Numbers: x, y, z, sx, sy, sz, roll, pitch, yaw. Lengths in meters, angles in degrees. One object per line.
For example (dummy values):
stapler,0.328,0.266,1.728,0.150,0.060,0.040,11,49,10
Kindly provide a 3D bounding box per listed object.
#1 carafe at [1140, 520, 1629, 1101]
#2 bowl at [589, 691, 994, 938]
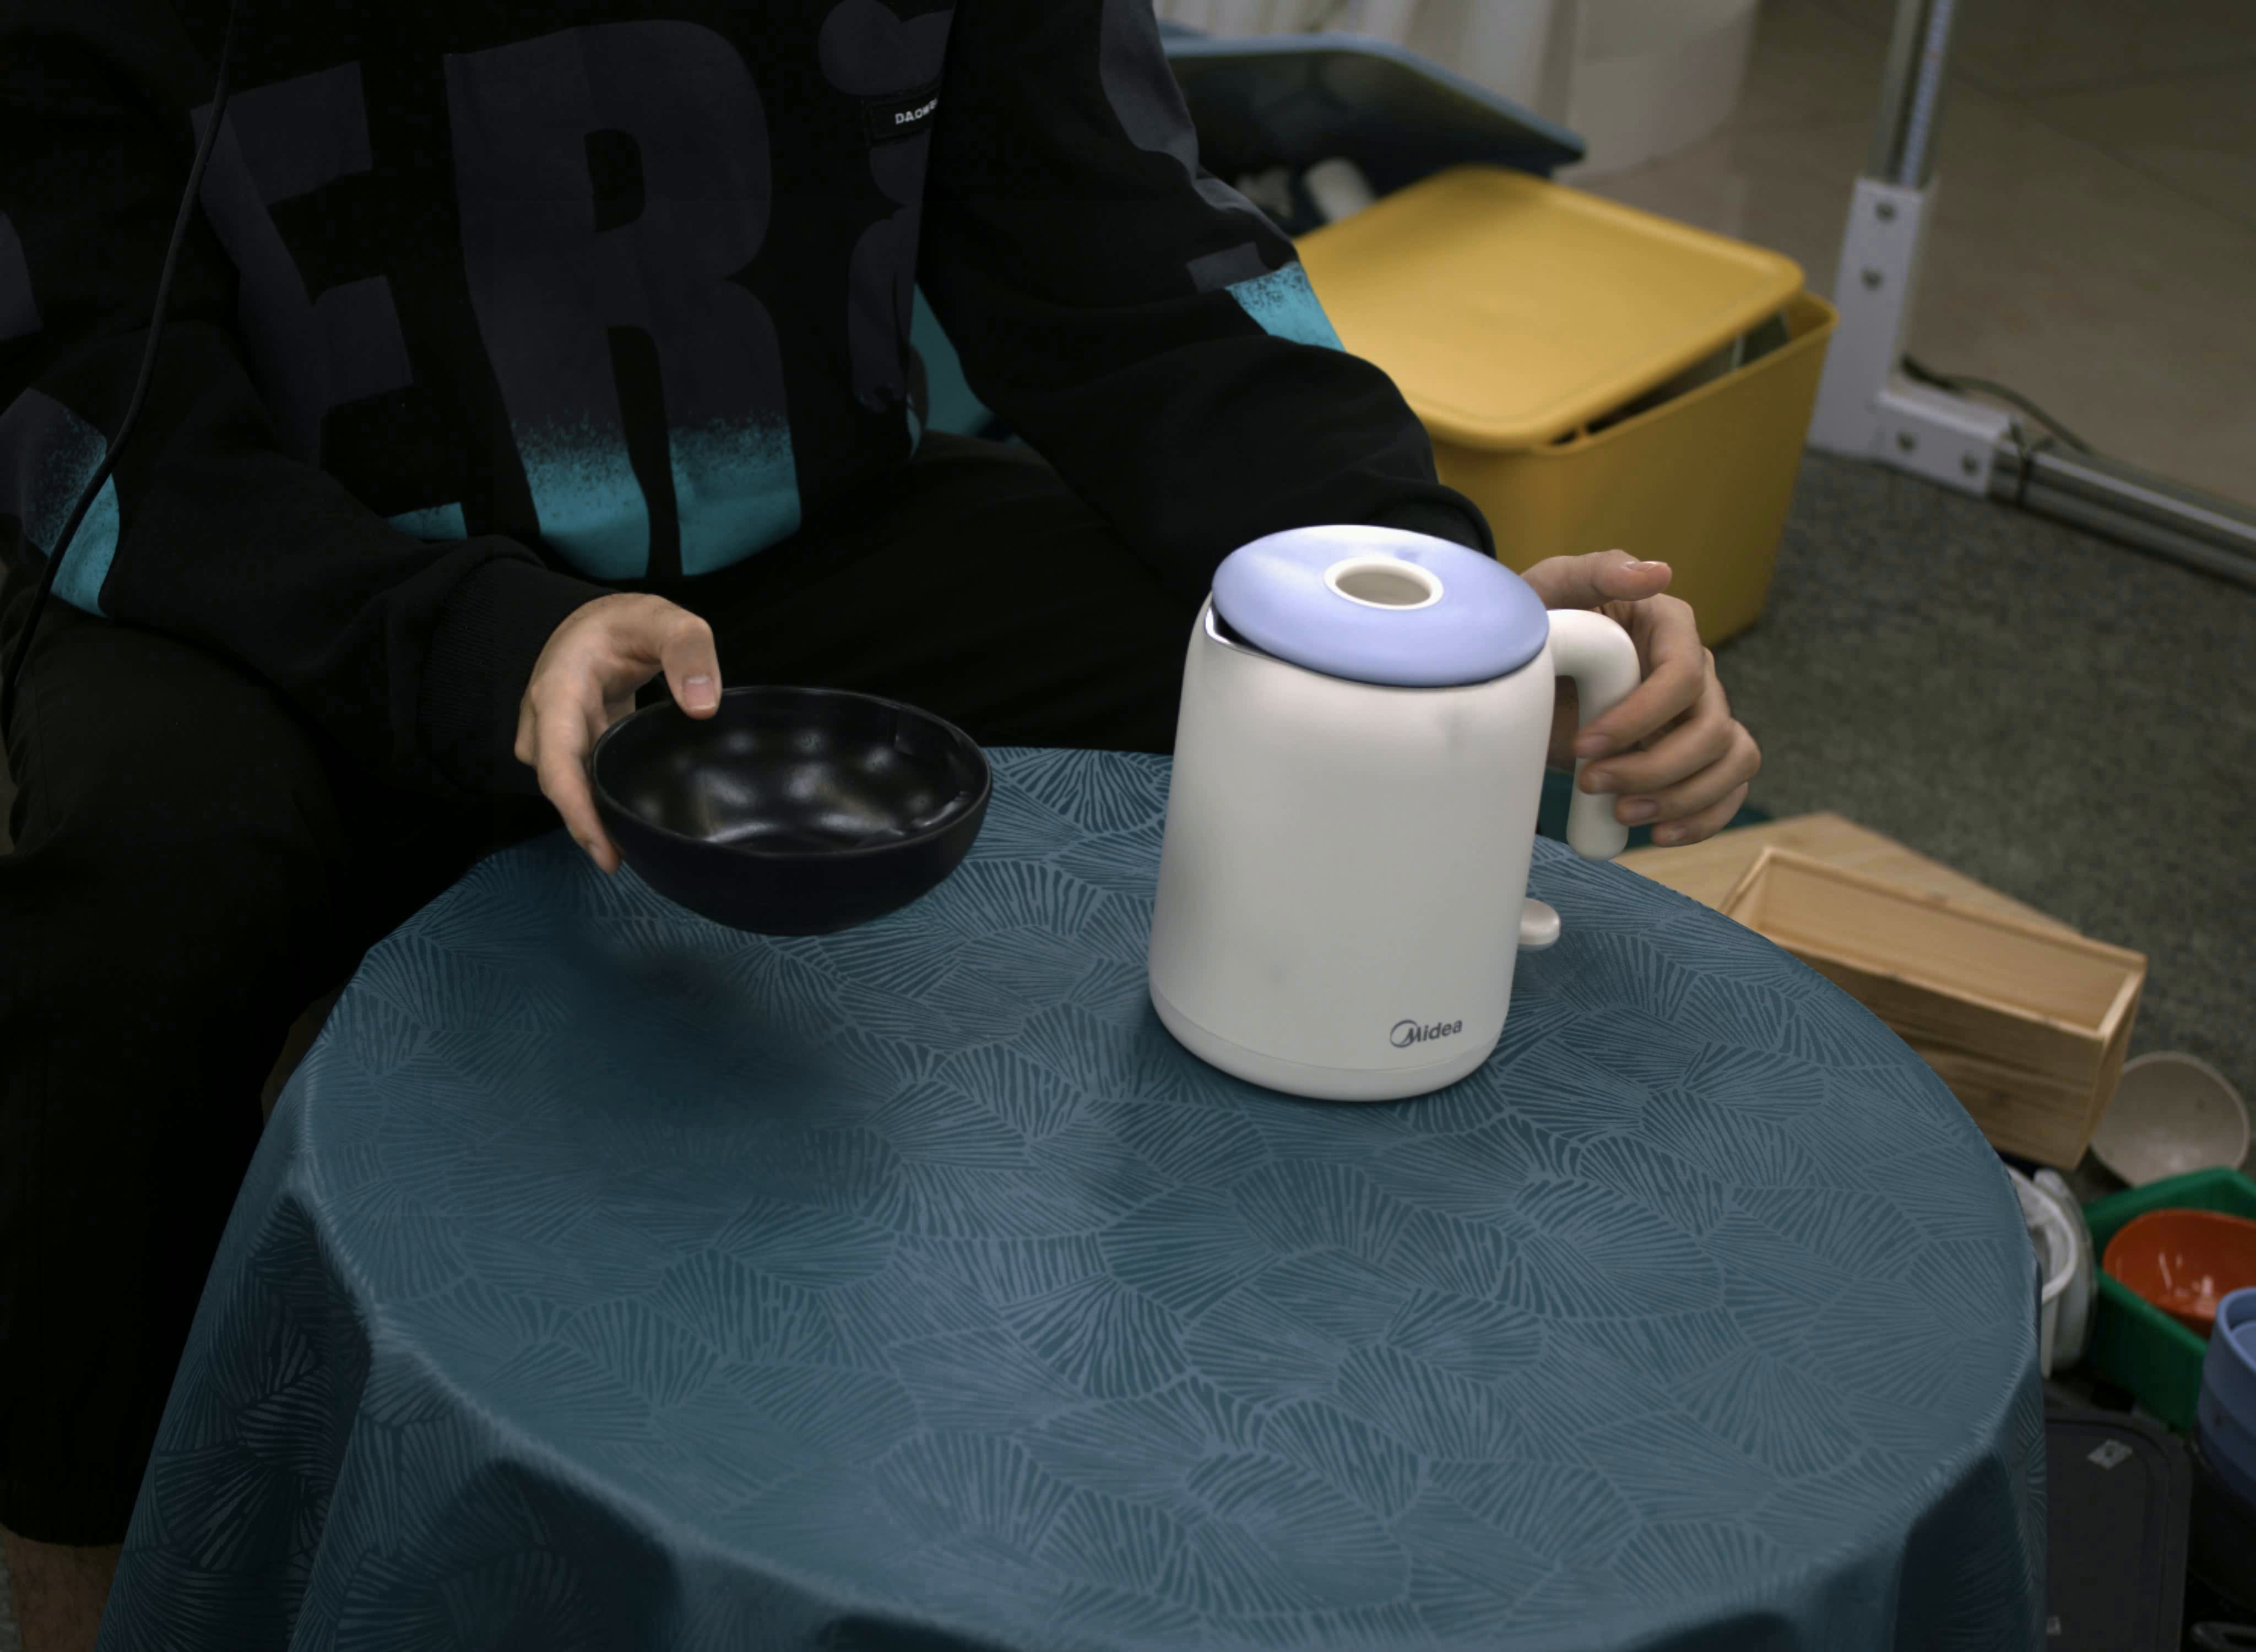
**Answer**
carafe,0.099,-0.009,1.894,0.190,0.182,0.133,-7,31,-30
bowl,-0.116,0.002,1.827,0.139,0.049,0.141,3,23,-1
